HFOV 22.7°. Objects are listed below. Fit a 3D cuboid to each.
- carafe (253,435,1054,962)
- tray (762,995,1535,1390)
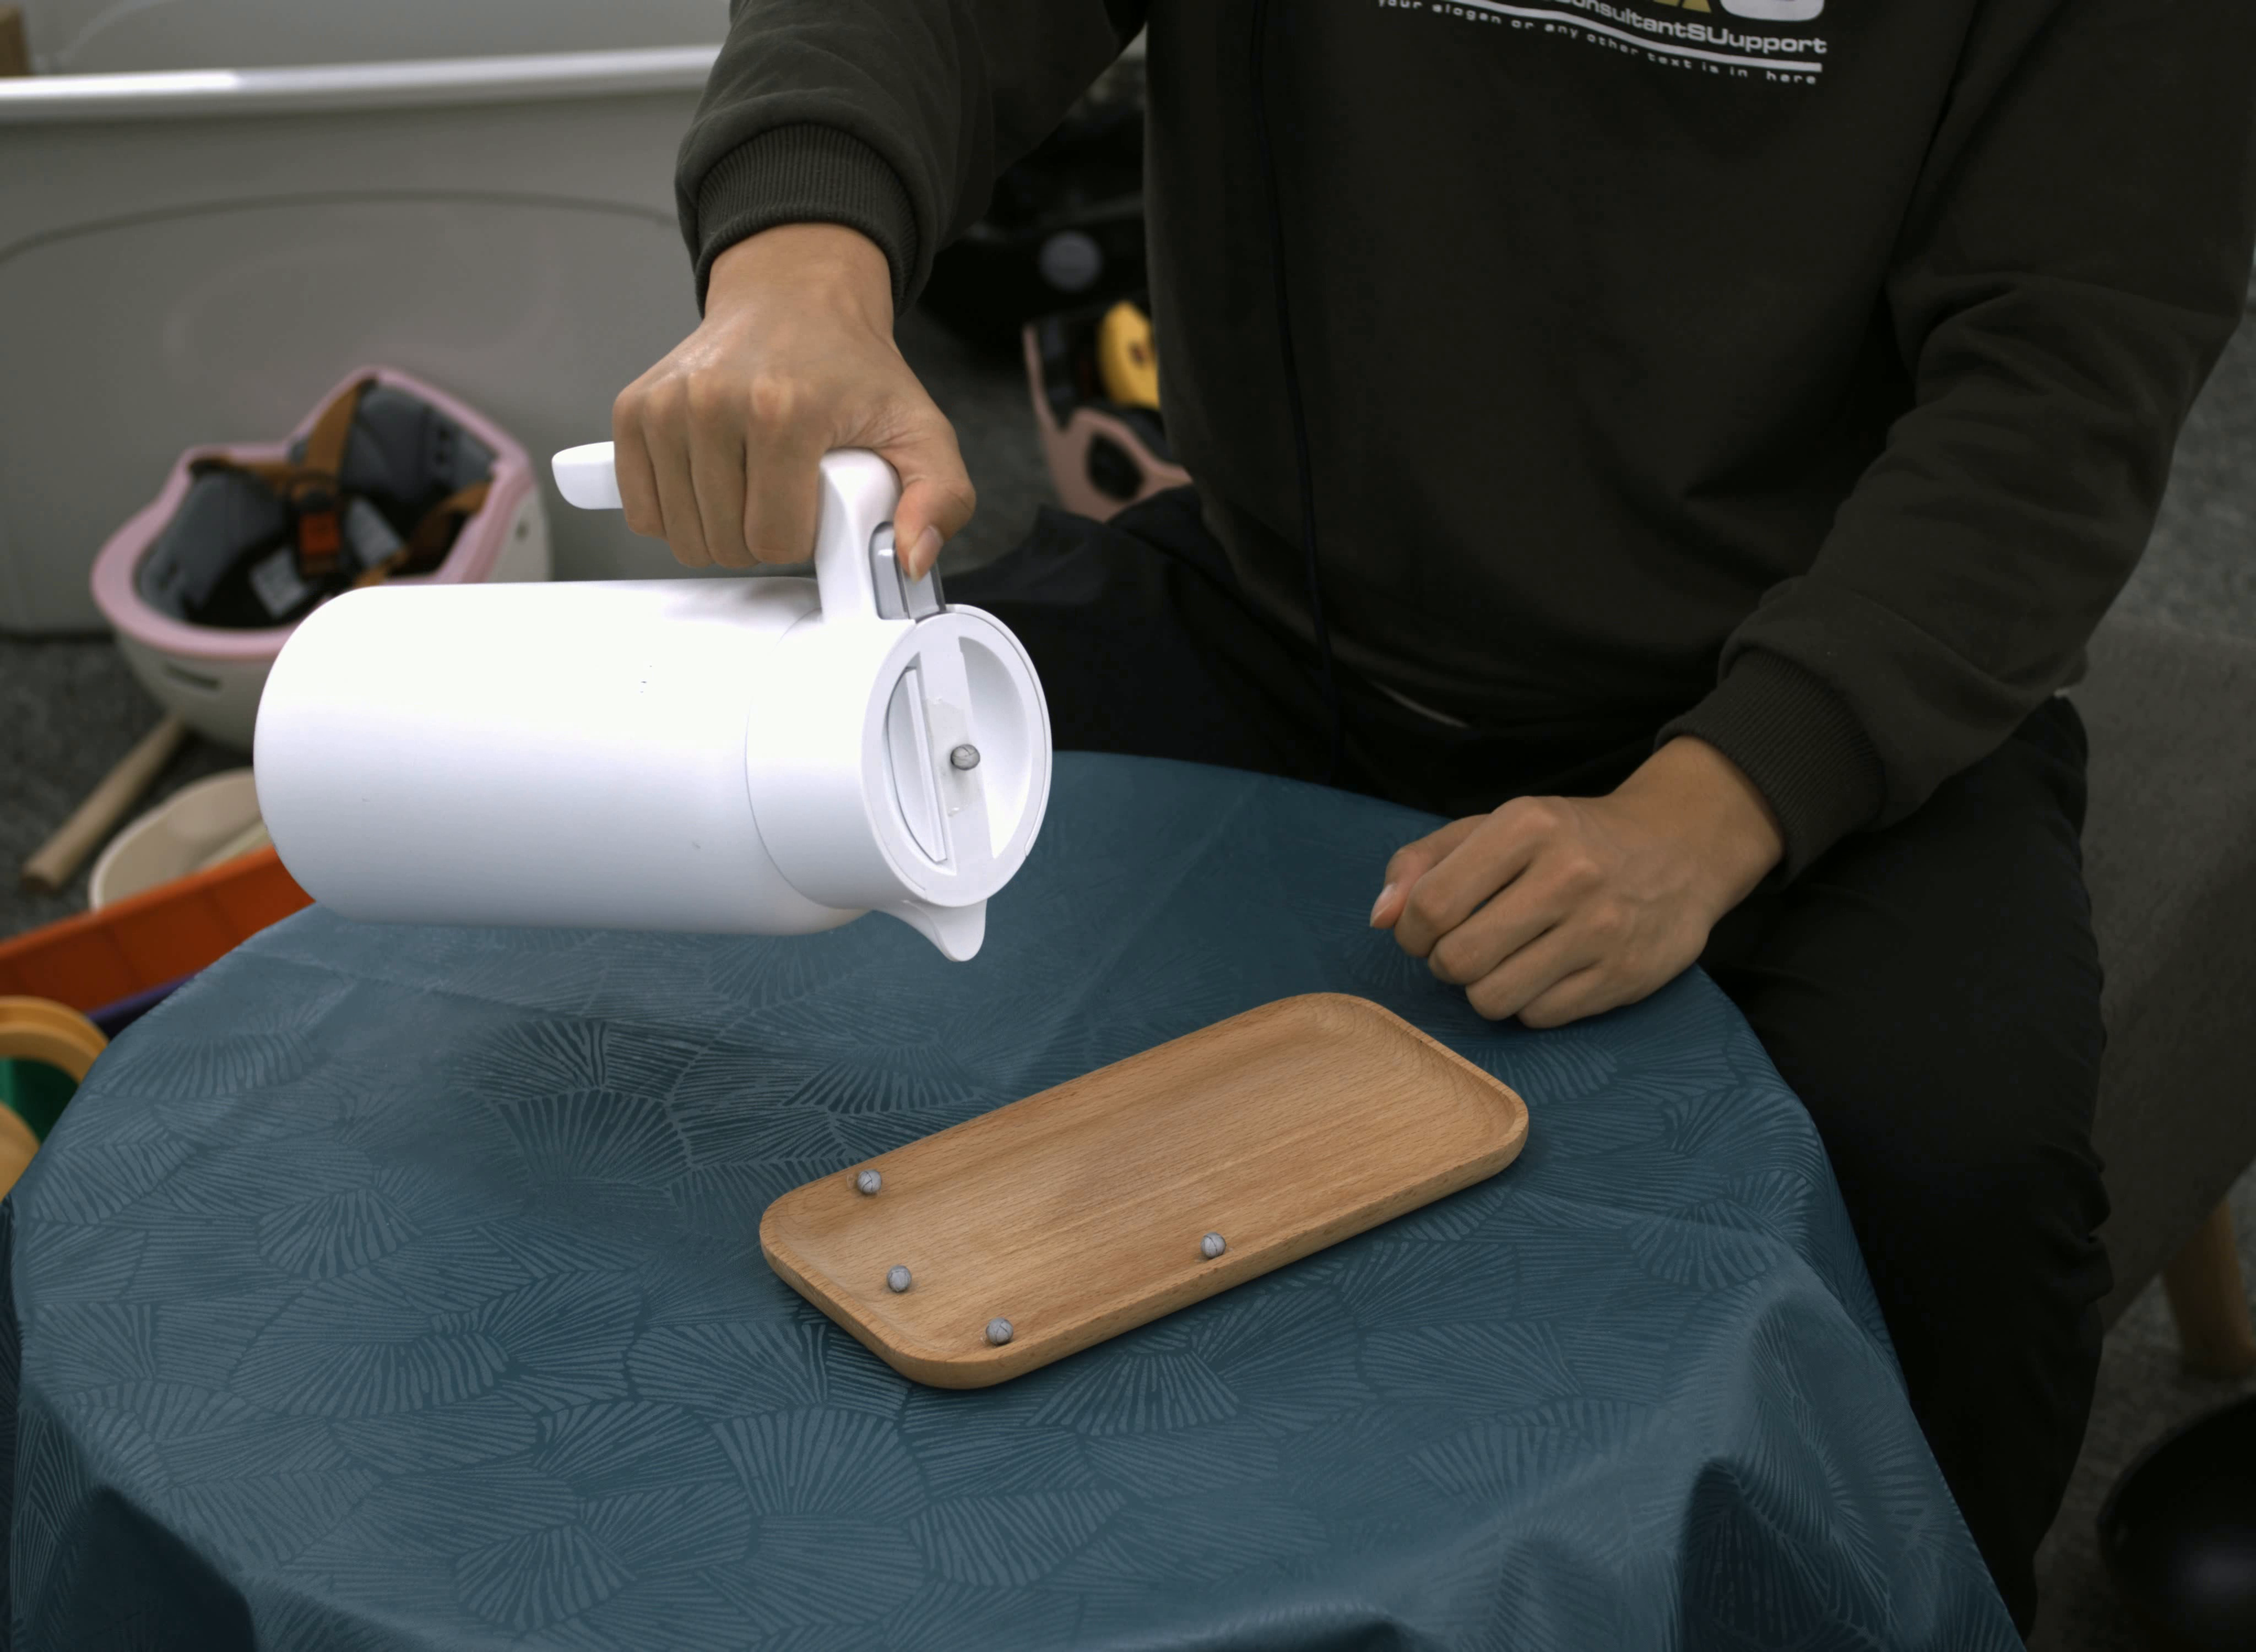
[{"bbox_3d":[-0.162,-0.039,1.858,0.266,0.172,0.125,0,15,38],"label":"carafe"},{"bbox_3d":[0.008,0.119,1.852,0.252,0.022,0.131,-19,34,-30],"label":"tray"}]
